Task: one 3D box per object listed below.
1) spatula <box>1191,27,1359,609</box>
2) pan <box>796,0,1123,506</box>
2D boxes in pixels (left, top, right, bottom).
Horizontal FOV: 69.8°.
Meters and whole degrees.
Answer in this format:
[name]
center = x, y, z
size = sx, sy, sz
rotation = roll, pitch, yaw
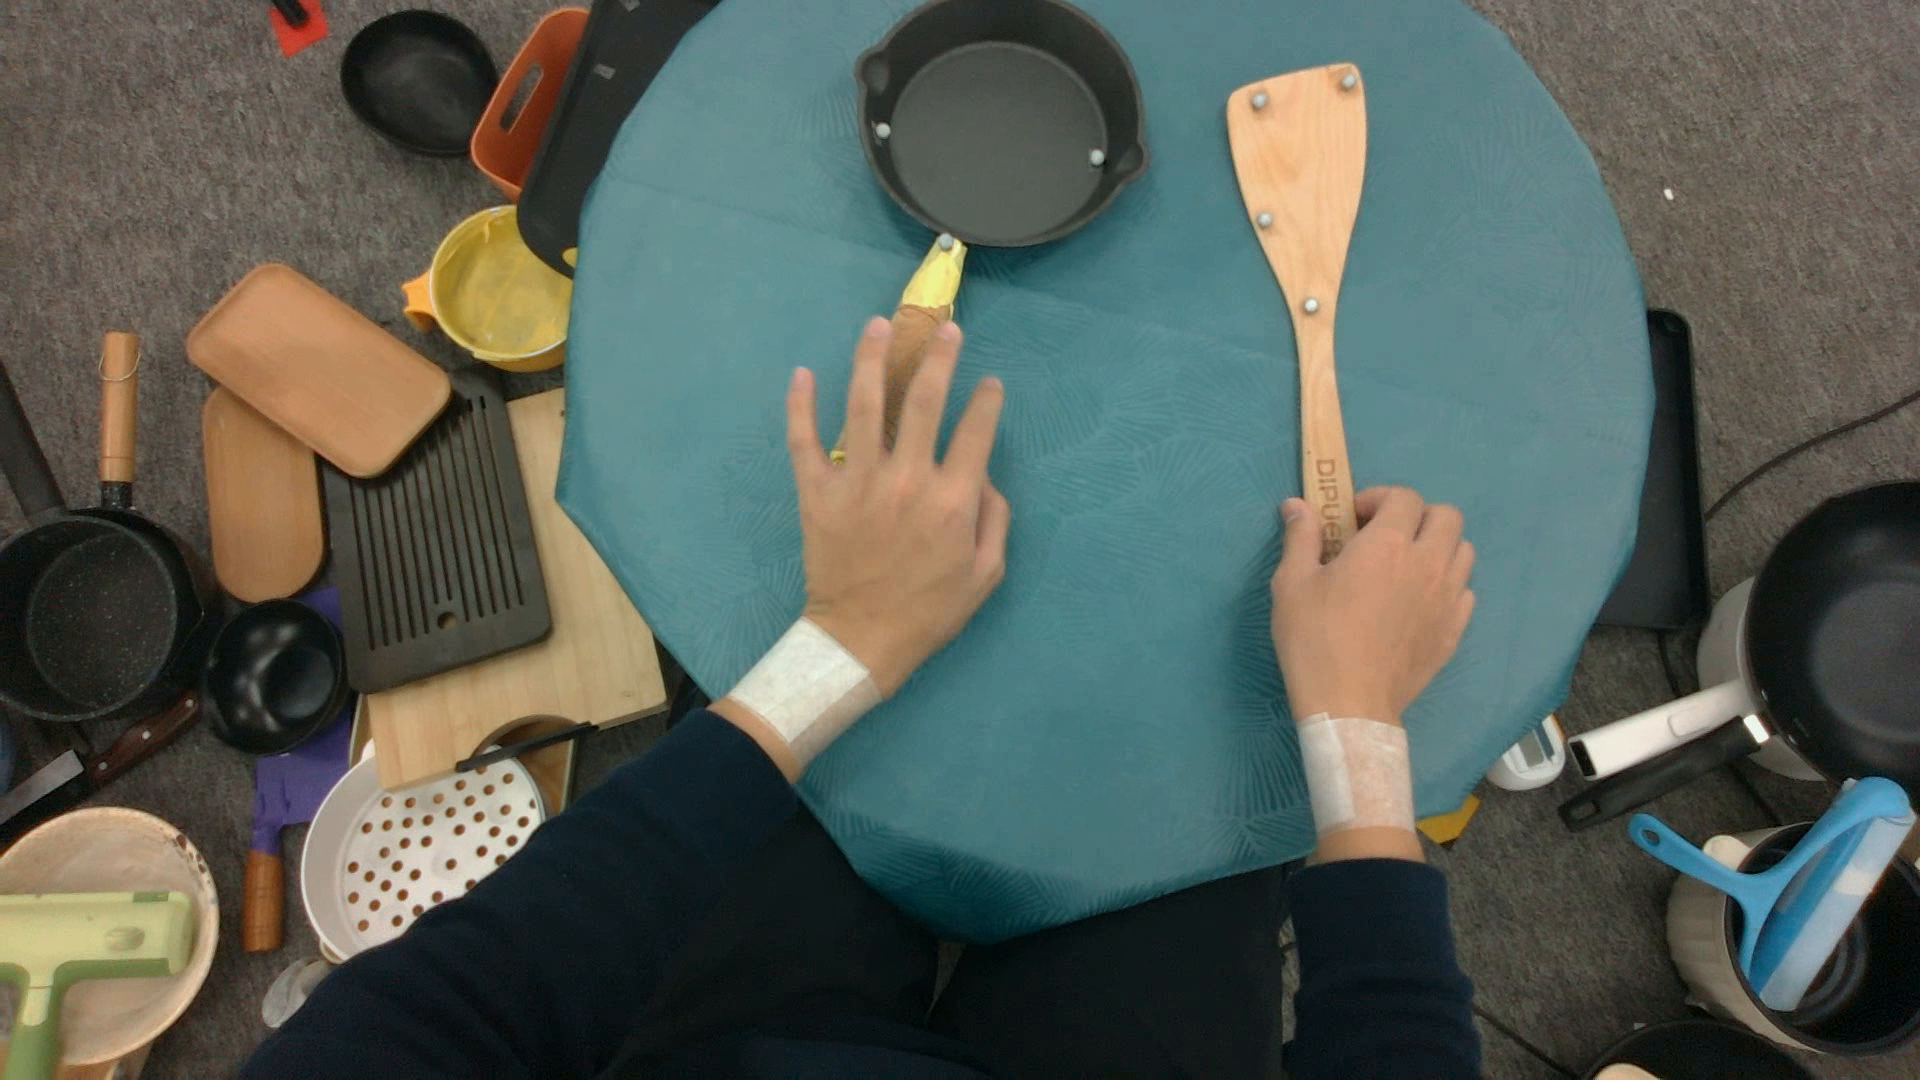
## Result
[spatula]
center = 0.182, -0.124, 0.752
size = 0.080, 0.016, 0.328
rotation = -8, 77, 13
[pan]
center = -0.021, -0.164, 0.739
size = 0.169, 0.049, 0.325
rotation = 21, 75, 2
